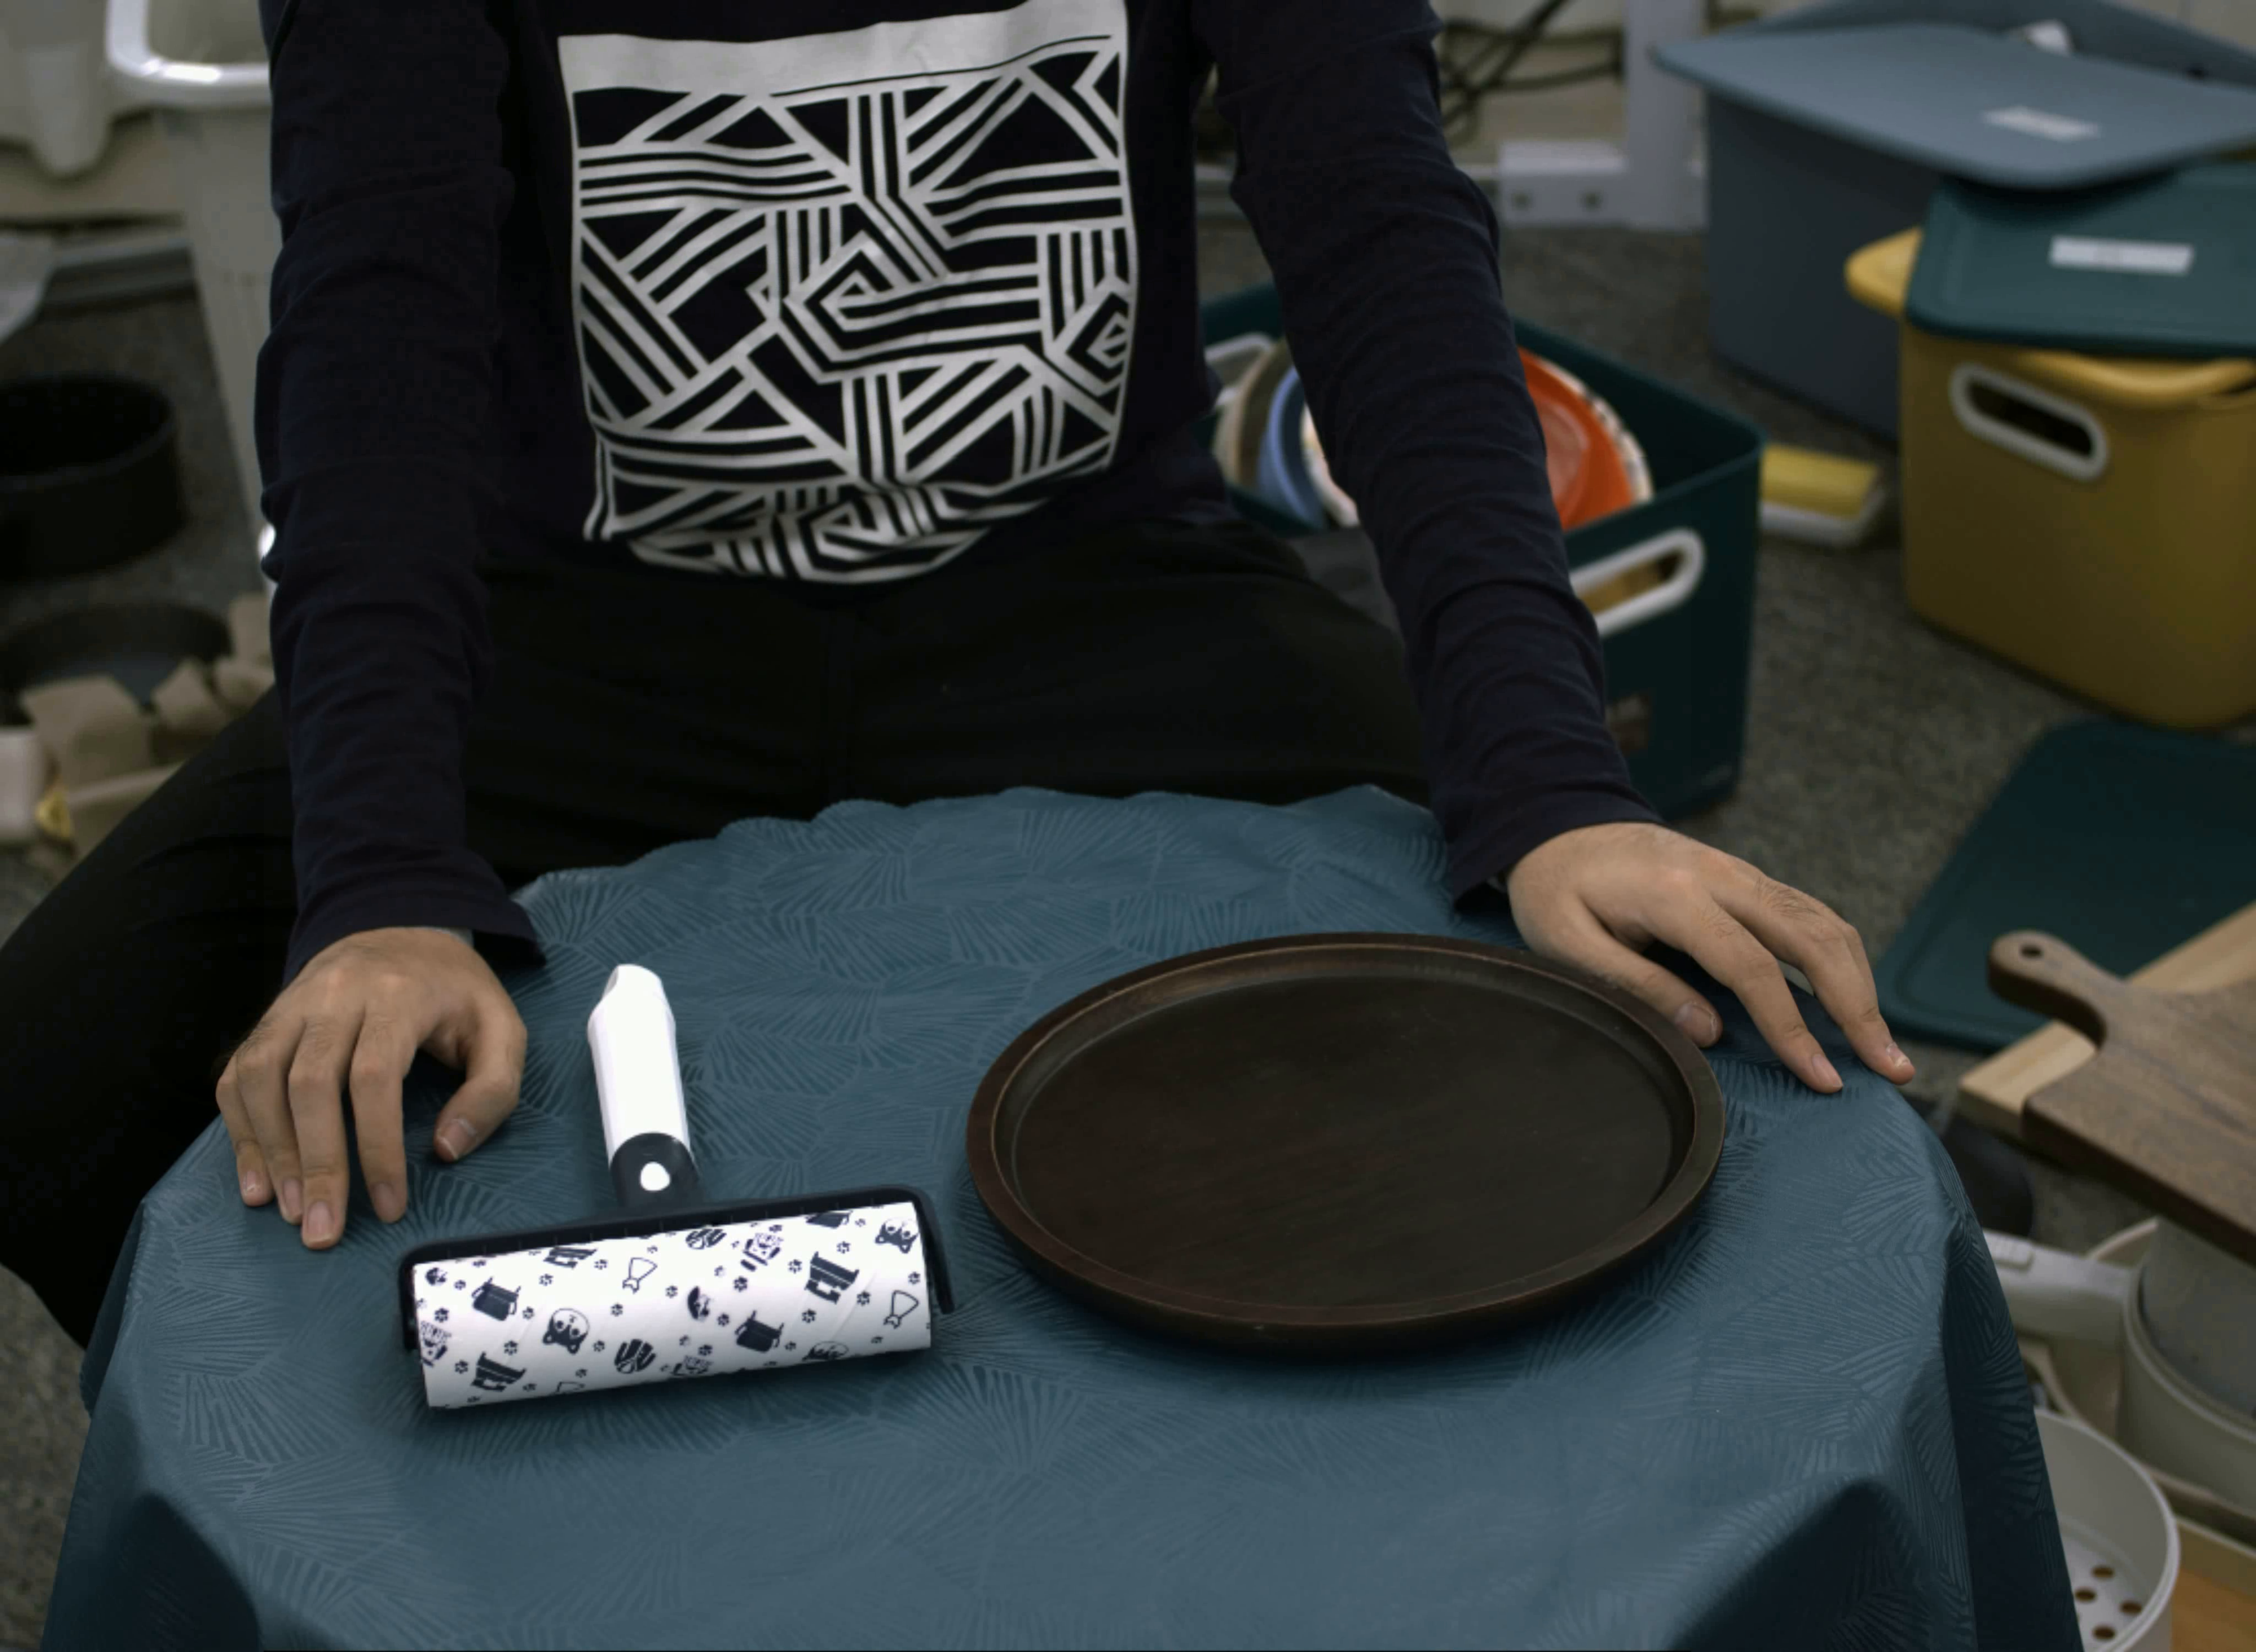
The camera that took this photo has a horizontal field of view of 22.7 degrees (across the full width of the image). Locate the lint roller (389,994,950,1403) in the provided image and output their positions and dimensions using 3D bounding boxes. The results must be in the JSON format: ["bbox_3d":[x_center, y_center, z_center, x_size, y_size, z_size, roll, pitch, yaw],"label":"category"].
[{"bbox_3d":[-0.161,0.109,1.859,0.176,0.050,0.250,-8,25,-7],"label":"lint roller"}]

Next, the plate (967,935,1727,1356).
[{"bbox_3d":[0.072,0.104,1.864,0.253,0.029,0.258,-2,26,1],"label":"plate"}]
